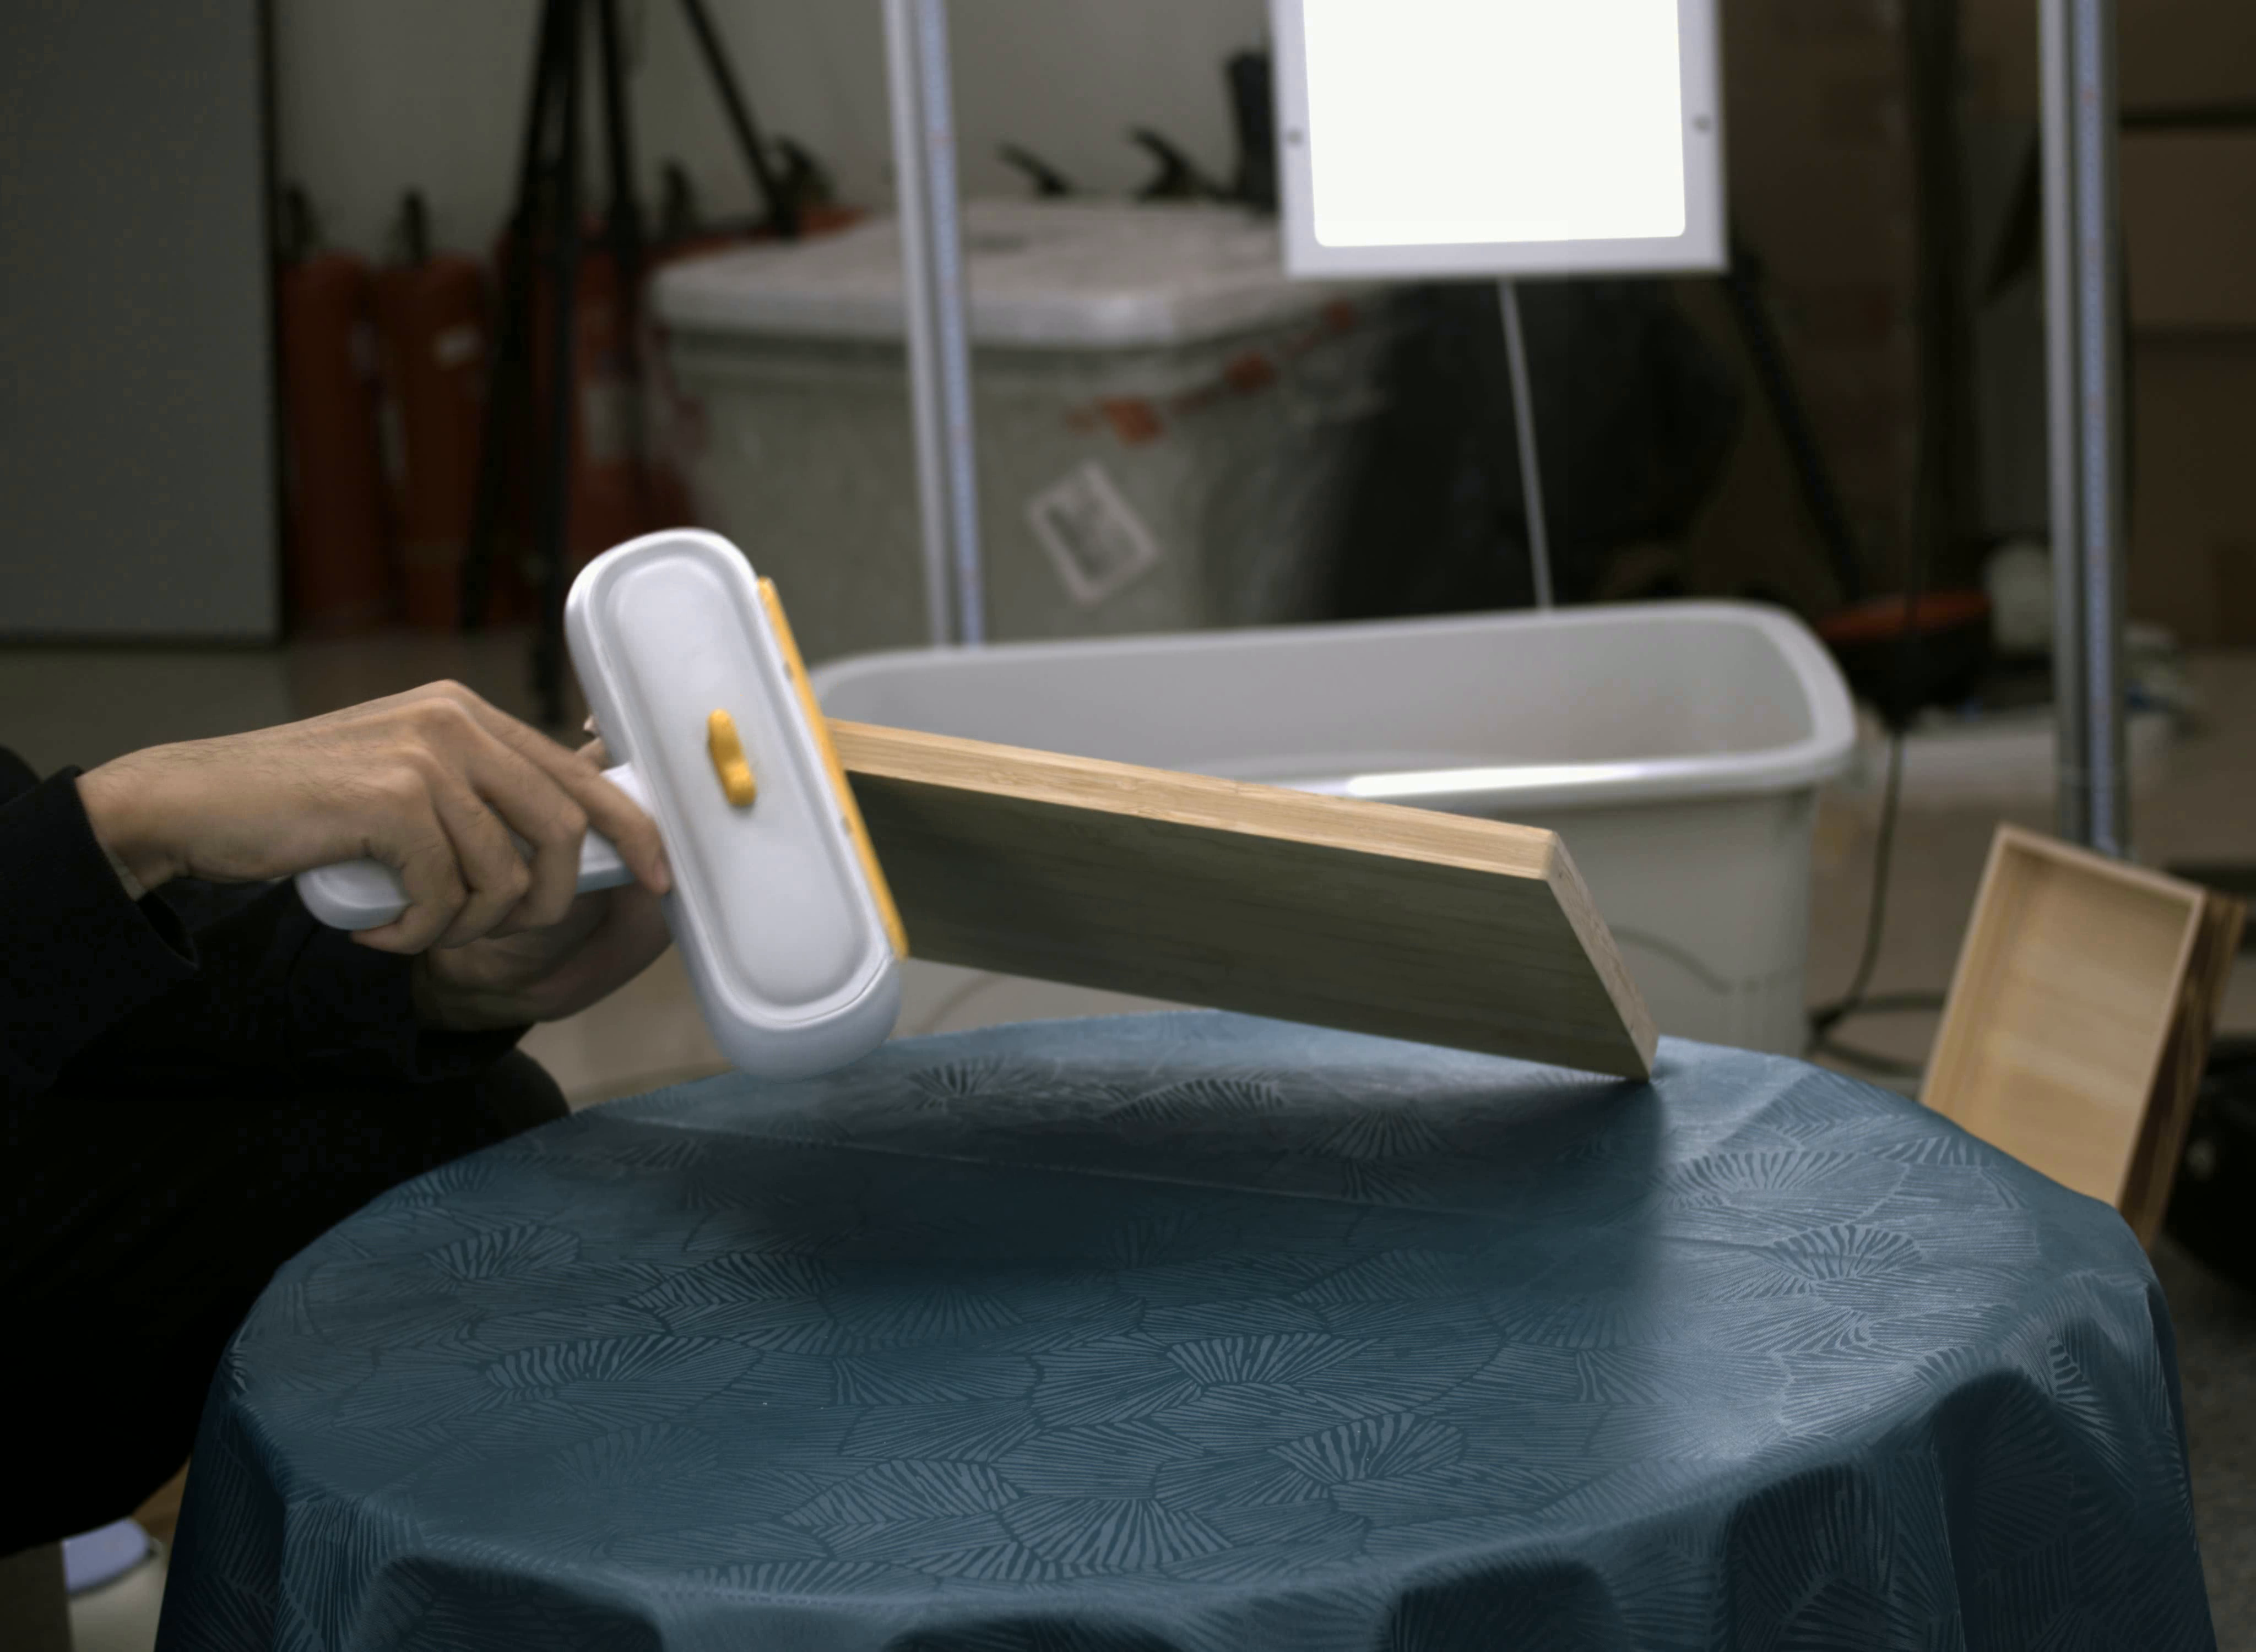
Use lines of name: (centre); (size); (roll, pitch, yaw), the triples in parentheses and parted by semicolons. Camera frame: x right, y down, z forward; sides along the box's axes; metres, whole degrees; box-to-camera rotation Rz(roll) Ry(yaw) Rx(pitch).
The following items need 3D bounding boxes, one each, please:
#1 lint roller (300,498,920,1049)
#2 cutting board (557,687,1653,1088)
lint roller: (-0.179, -0.001, 1.790); (0.189, 0.193, 0.075); (-21, -12, -18)
cutting board: (-0.003, 0.022, 1.923); (0.352, 0.023, 0.248); (9, -16, 18)
